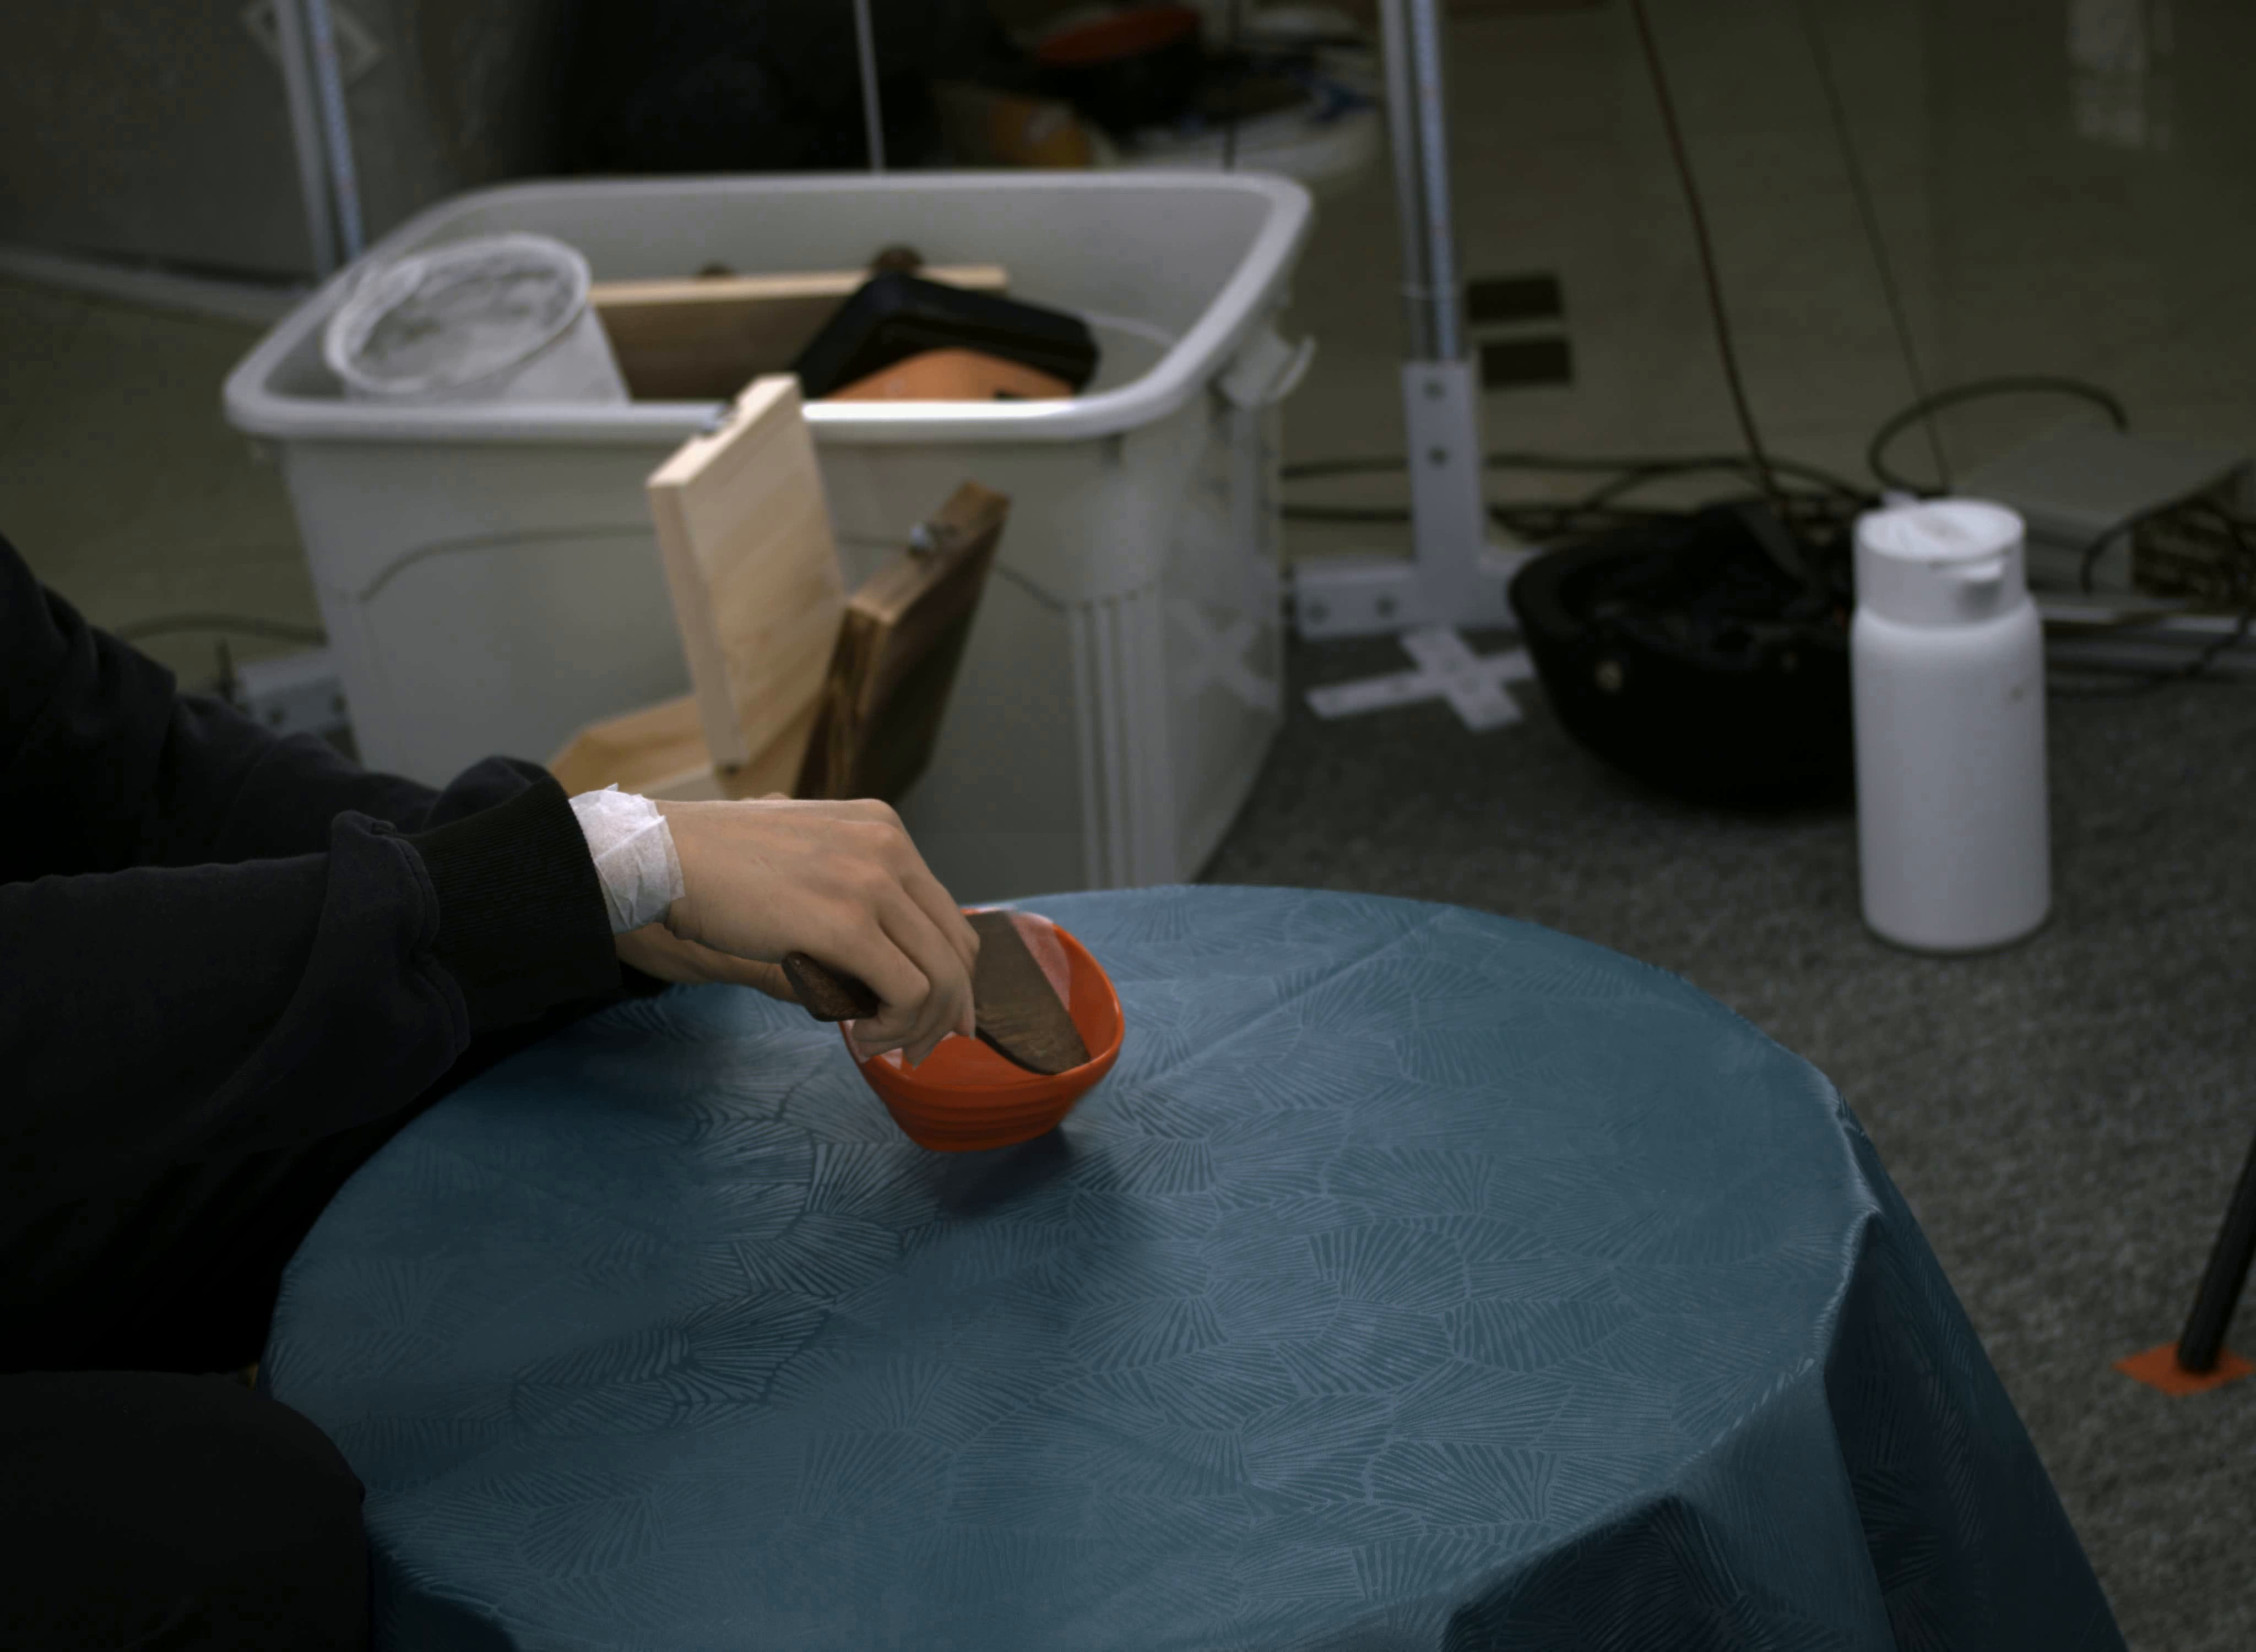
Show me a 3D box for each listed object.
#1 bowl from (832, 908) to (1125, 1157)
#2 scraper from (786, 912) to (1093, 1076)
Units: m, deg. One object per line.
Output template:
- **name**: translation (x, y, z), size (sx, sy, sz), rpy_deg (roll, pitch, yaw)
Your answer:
- **bowl**: translation (-0.061, 0.087, 2.201), size (0.119, 0.052, 0.117), rpy_deg (5, 38, -4)
- **scraper**: translation (-0.073, 0.061, 2.093), size (0.011, 0.075, 0.211), rpy_deg (-36, -16, 18)
